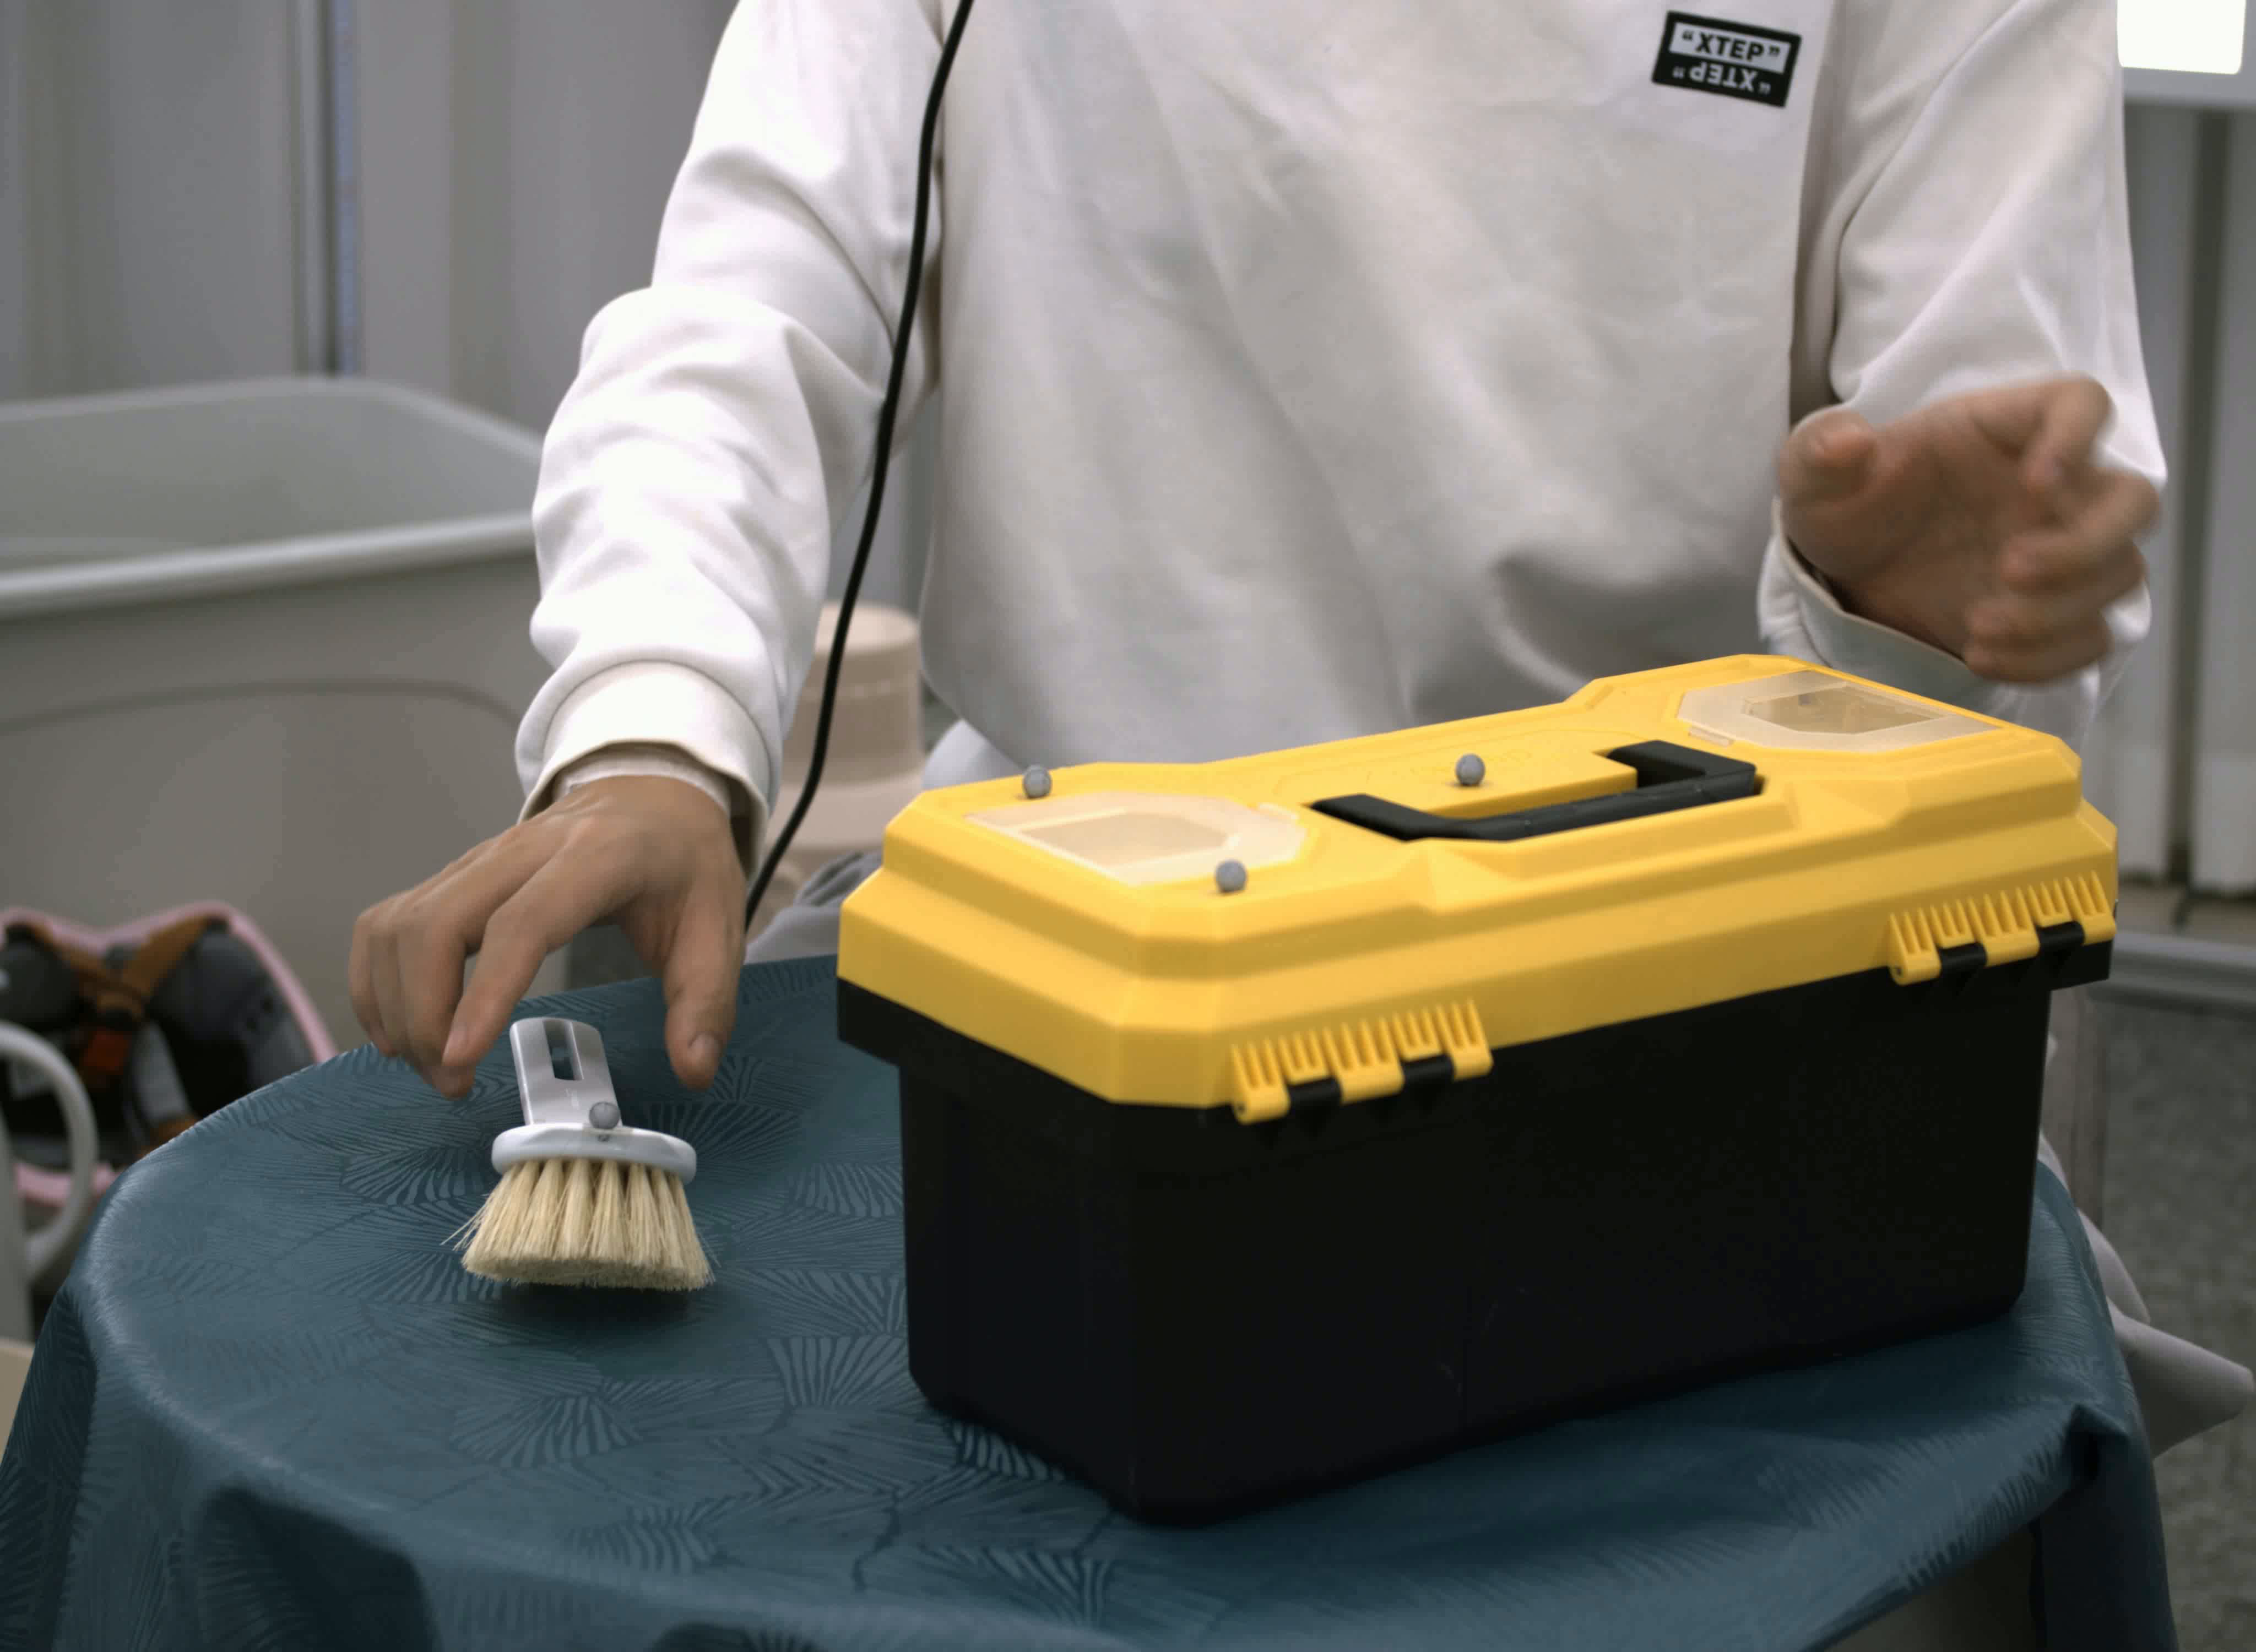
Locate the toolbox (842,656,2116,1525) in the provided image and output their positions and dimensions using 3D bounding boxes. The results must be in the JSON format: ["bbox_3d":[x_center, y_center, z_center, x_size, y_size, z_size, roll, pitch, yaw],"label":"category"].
[{"bbox_3d":[0.101,0.066,1.477,0.353,0.174,0.179,-9,19,-34],"label":"toolbox"}]

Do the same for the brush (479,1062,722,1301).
[{"bbox_3d":[-0.166,0.106,1.621,0.068,0.056,0.265,20,-4,-9],"label":"brush"}]
